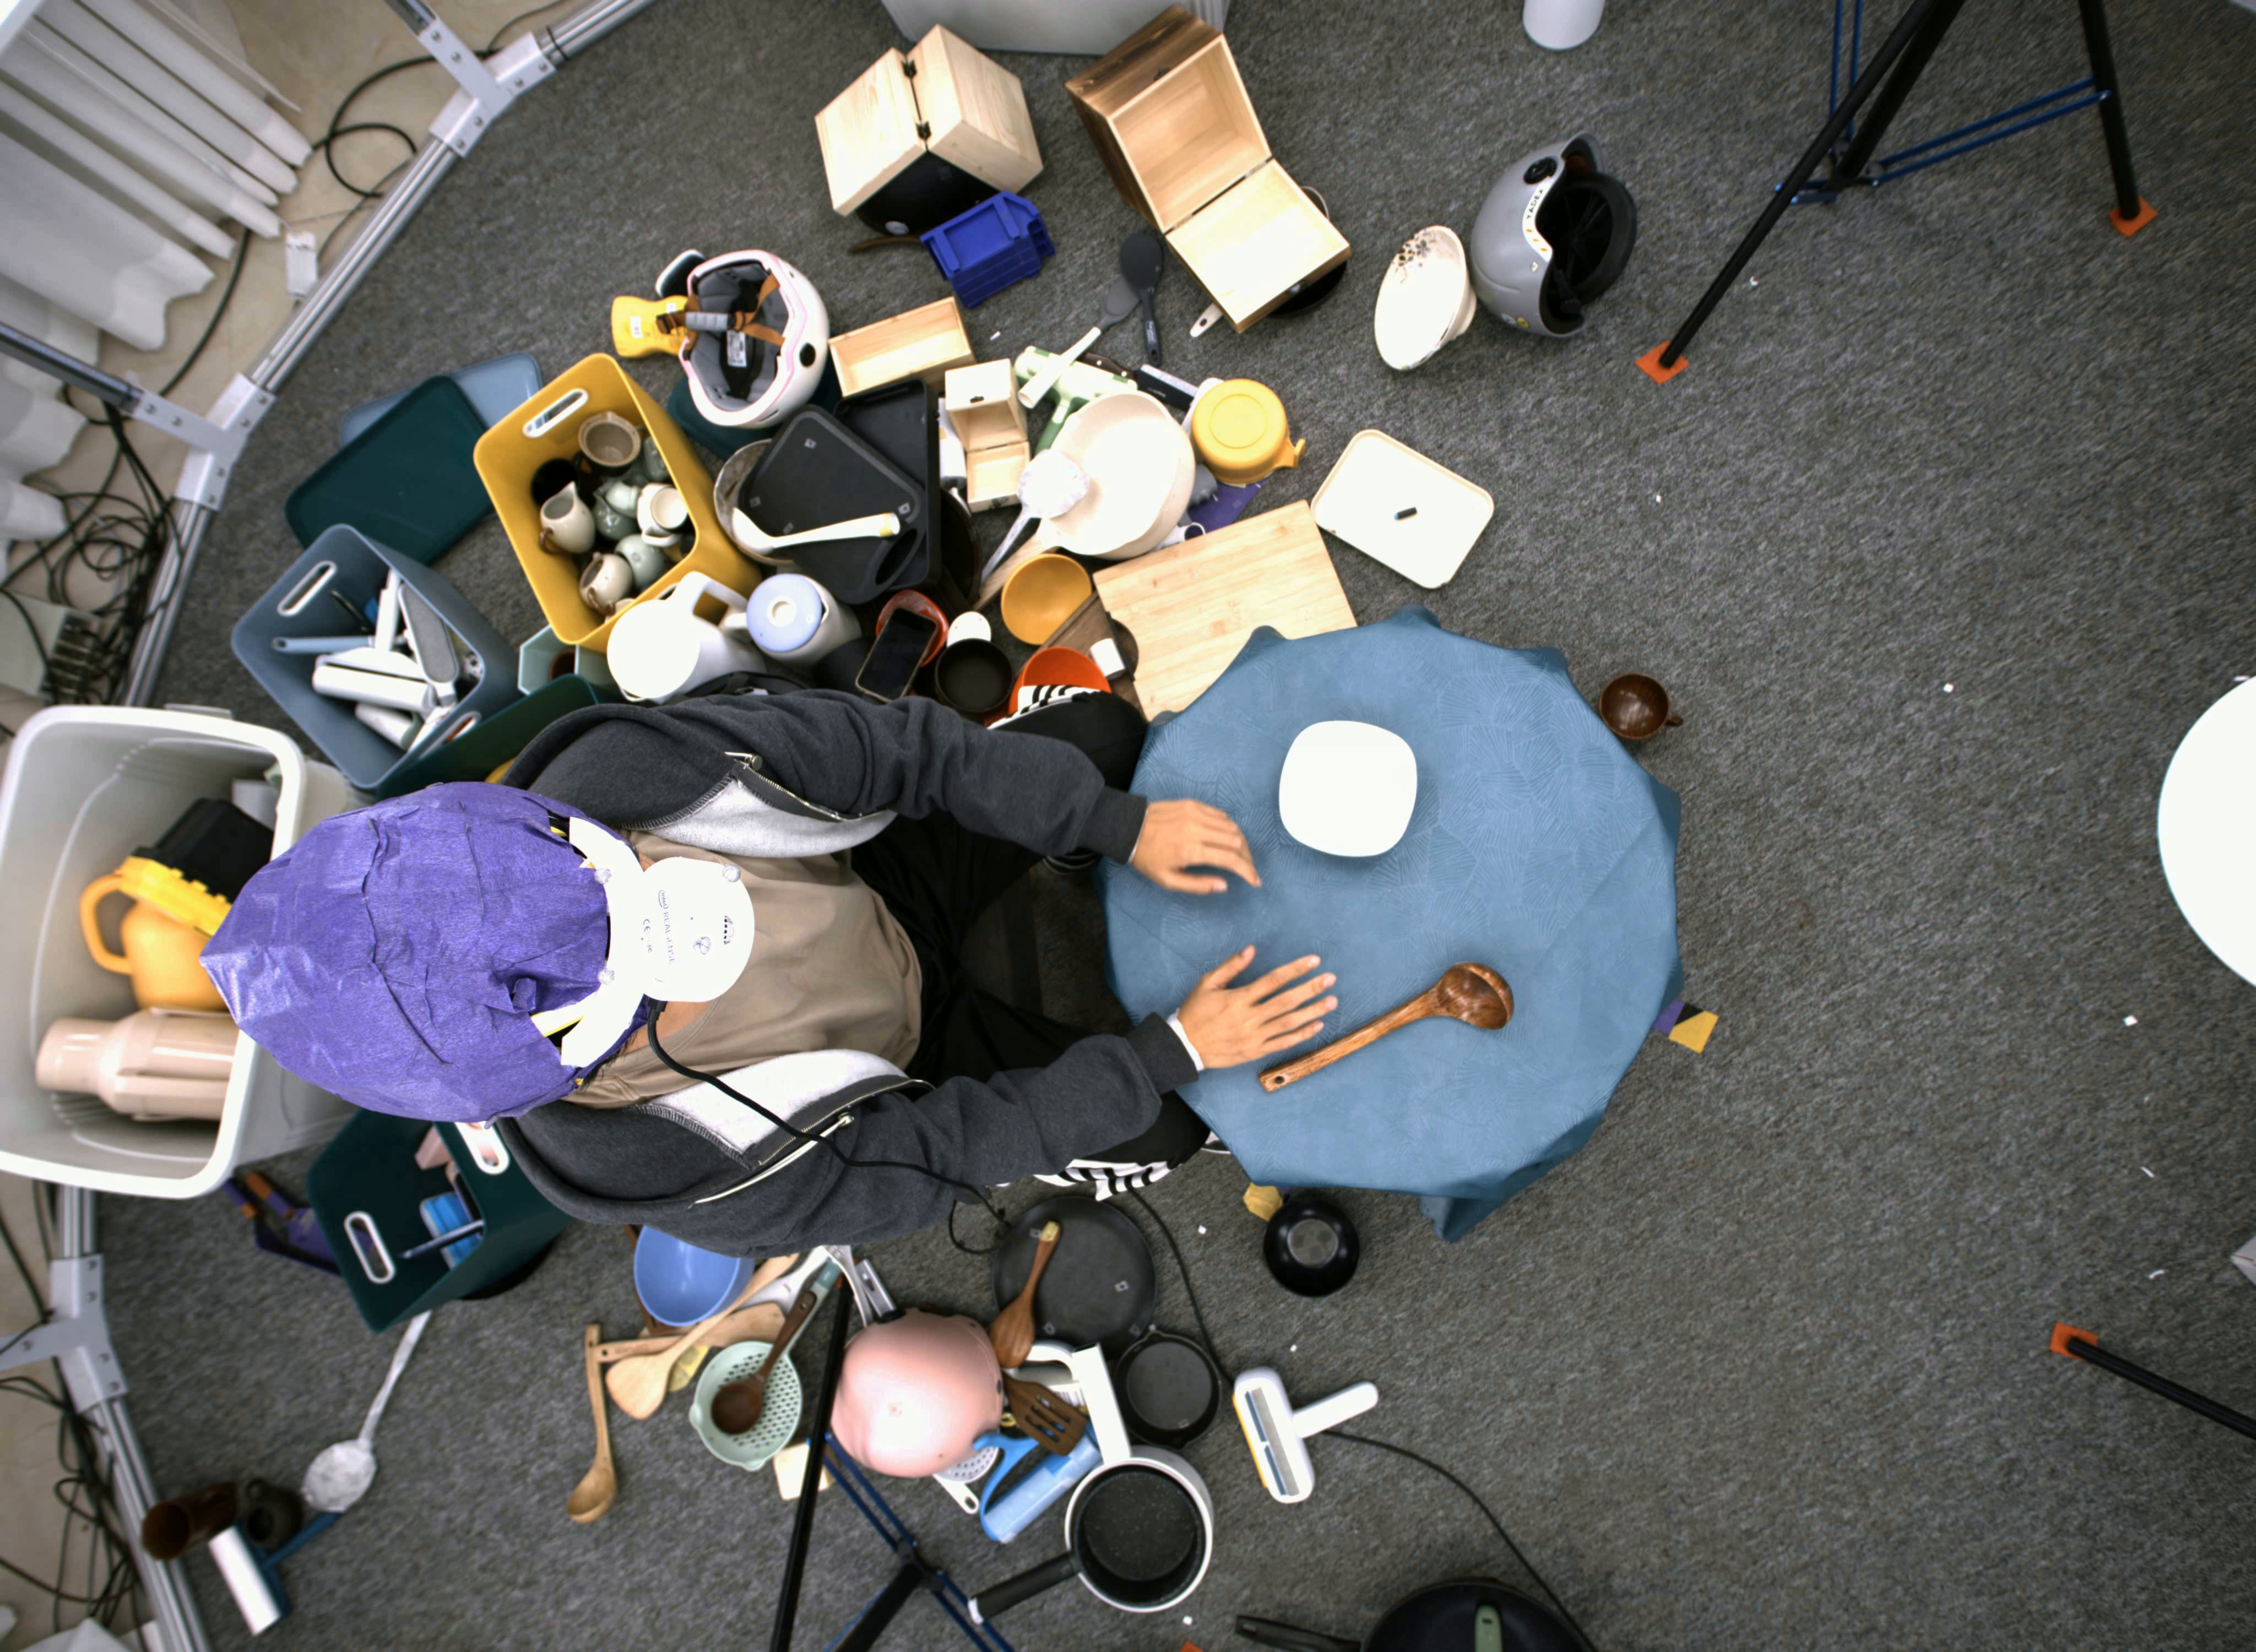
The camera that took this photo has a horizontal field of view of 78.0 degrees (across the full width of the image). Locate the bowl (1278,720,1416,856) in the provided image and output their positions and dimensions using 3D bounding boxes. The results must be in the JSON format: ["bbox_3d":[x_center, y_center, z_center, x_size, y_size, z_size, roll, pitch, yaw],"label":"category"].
[{"bbox_3d":[0.228,-0.038,1.444,0.152,0.058,0.151,-1,87,8],"label":"bowl"}]

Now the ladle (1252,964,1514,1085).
[{"bbox_3d":[0.260,0.218,1.415,0.275,0.075,0.083,-25,108,6],"label":"ladle"}]
